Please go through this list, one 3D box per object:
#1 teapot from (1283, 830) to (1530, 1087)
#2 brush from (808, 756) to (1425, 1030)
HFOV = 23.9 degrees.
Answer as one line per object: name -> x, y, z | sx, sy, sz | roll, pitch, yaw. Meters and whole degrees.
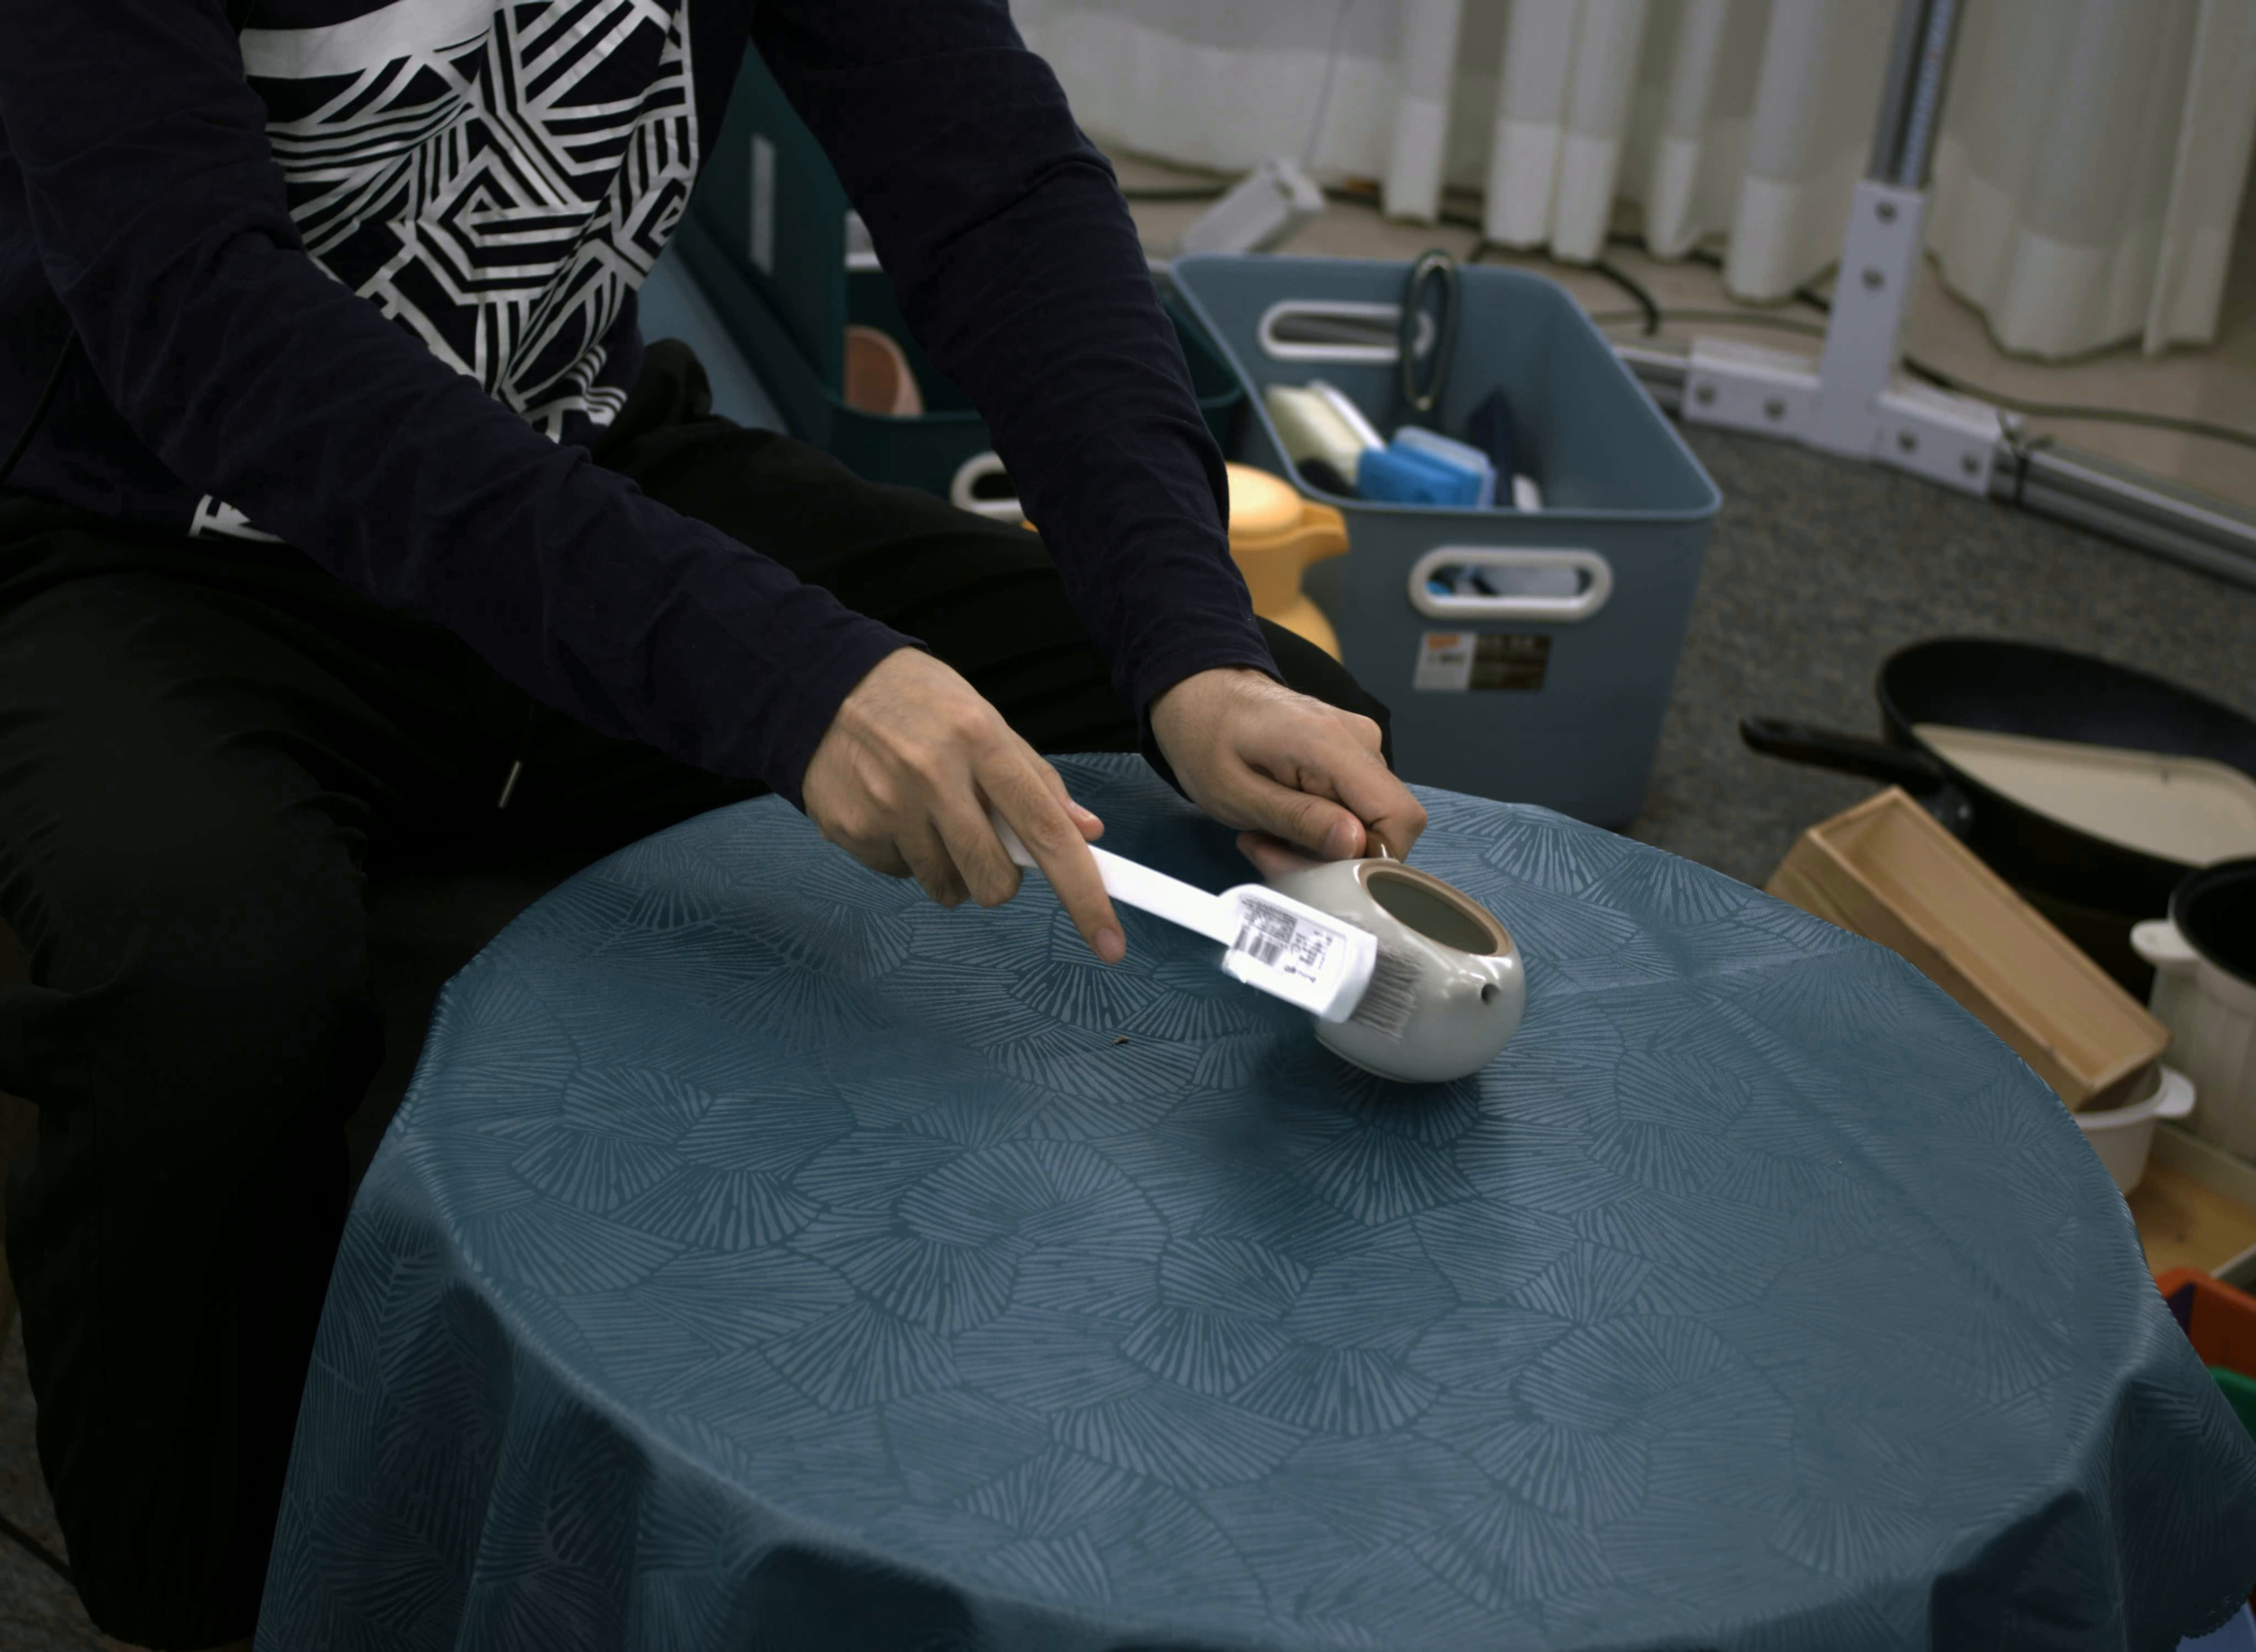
teapot -> 0.094, 0.048, 1.896 | 0.091, 0.059, 0.129 | 10, 26, -31
brush -> -0.005, 0.021, 1.869 | 0.245, 0.034, 0.050 | 19, 5, 30
